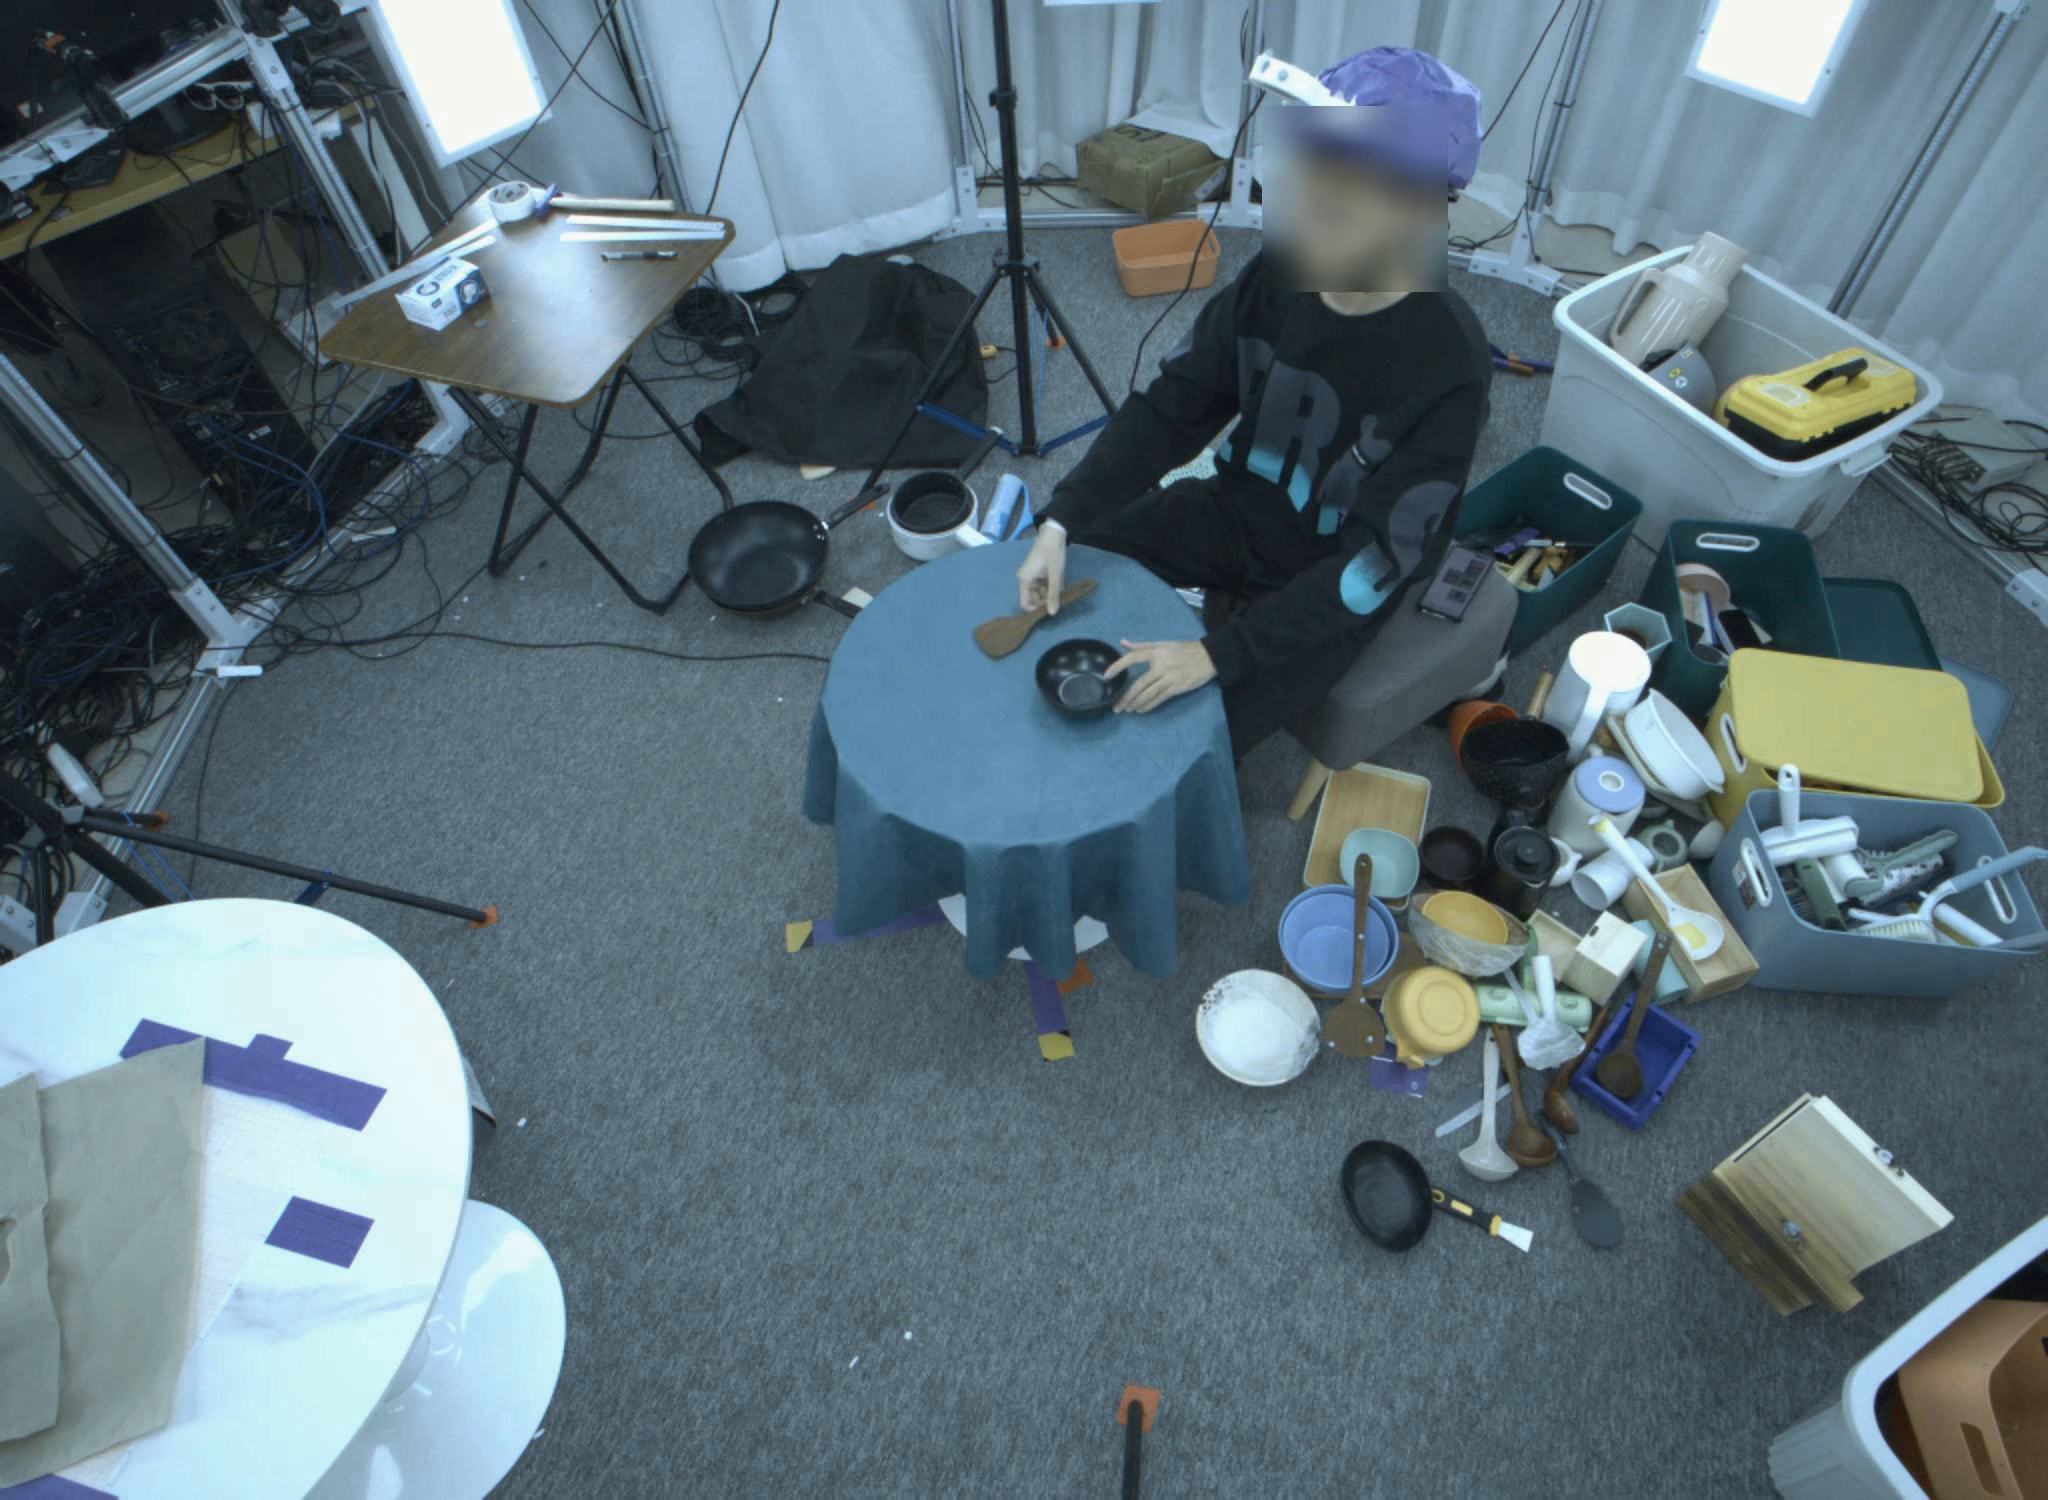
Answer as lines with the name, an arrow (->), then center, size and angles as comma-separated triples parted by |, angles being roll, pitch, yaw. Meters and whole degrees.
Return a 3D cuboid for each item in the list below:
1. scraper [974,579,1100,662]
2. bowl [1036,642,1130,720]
scraper -> 0.025, -0.209, 1.923 | 0.212, 0.011, 0.074 | -31, 63, -8
bowl -> 0.088, -0.094, 1.832 | 0.140, 0.050, 0.138 | -1, 52, 3
